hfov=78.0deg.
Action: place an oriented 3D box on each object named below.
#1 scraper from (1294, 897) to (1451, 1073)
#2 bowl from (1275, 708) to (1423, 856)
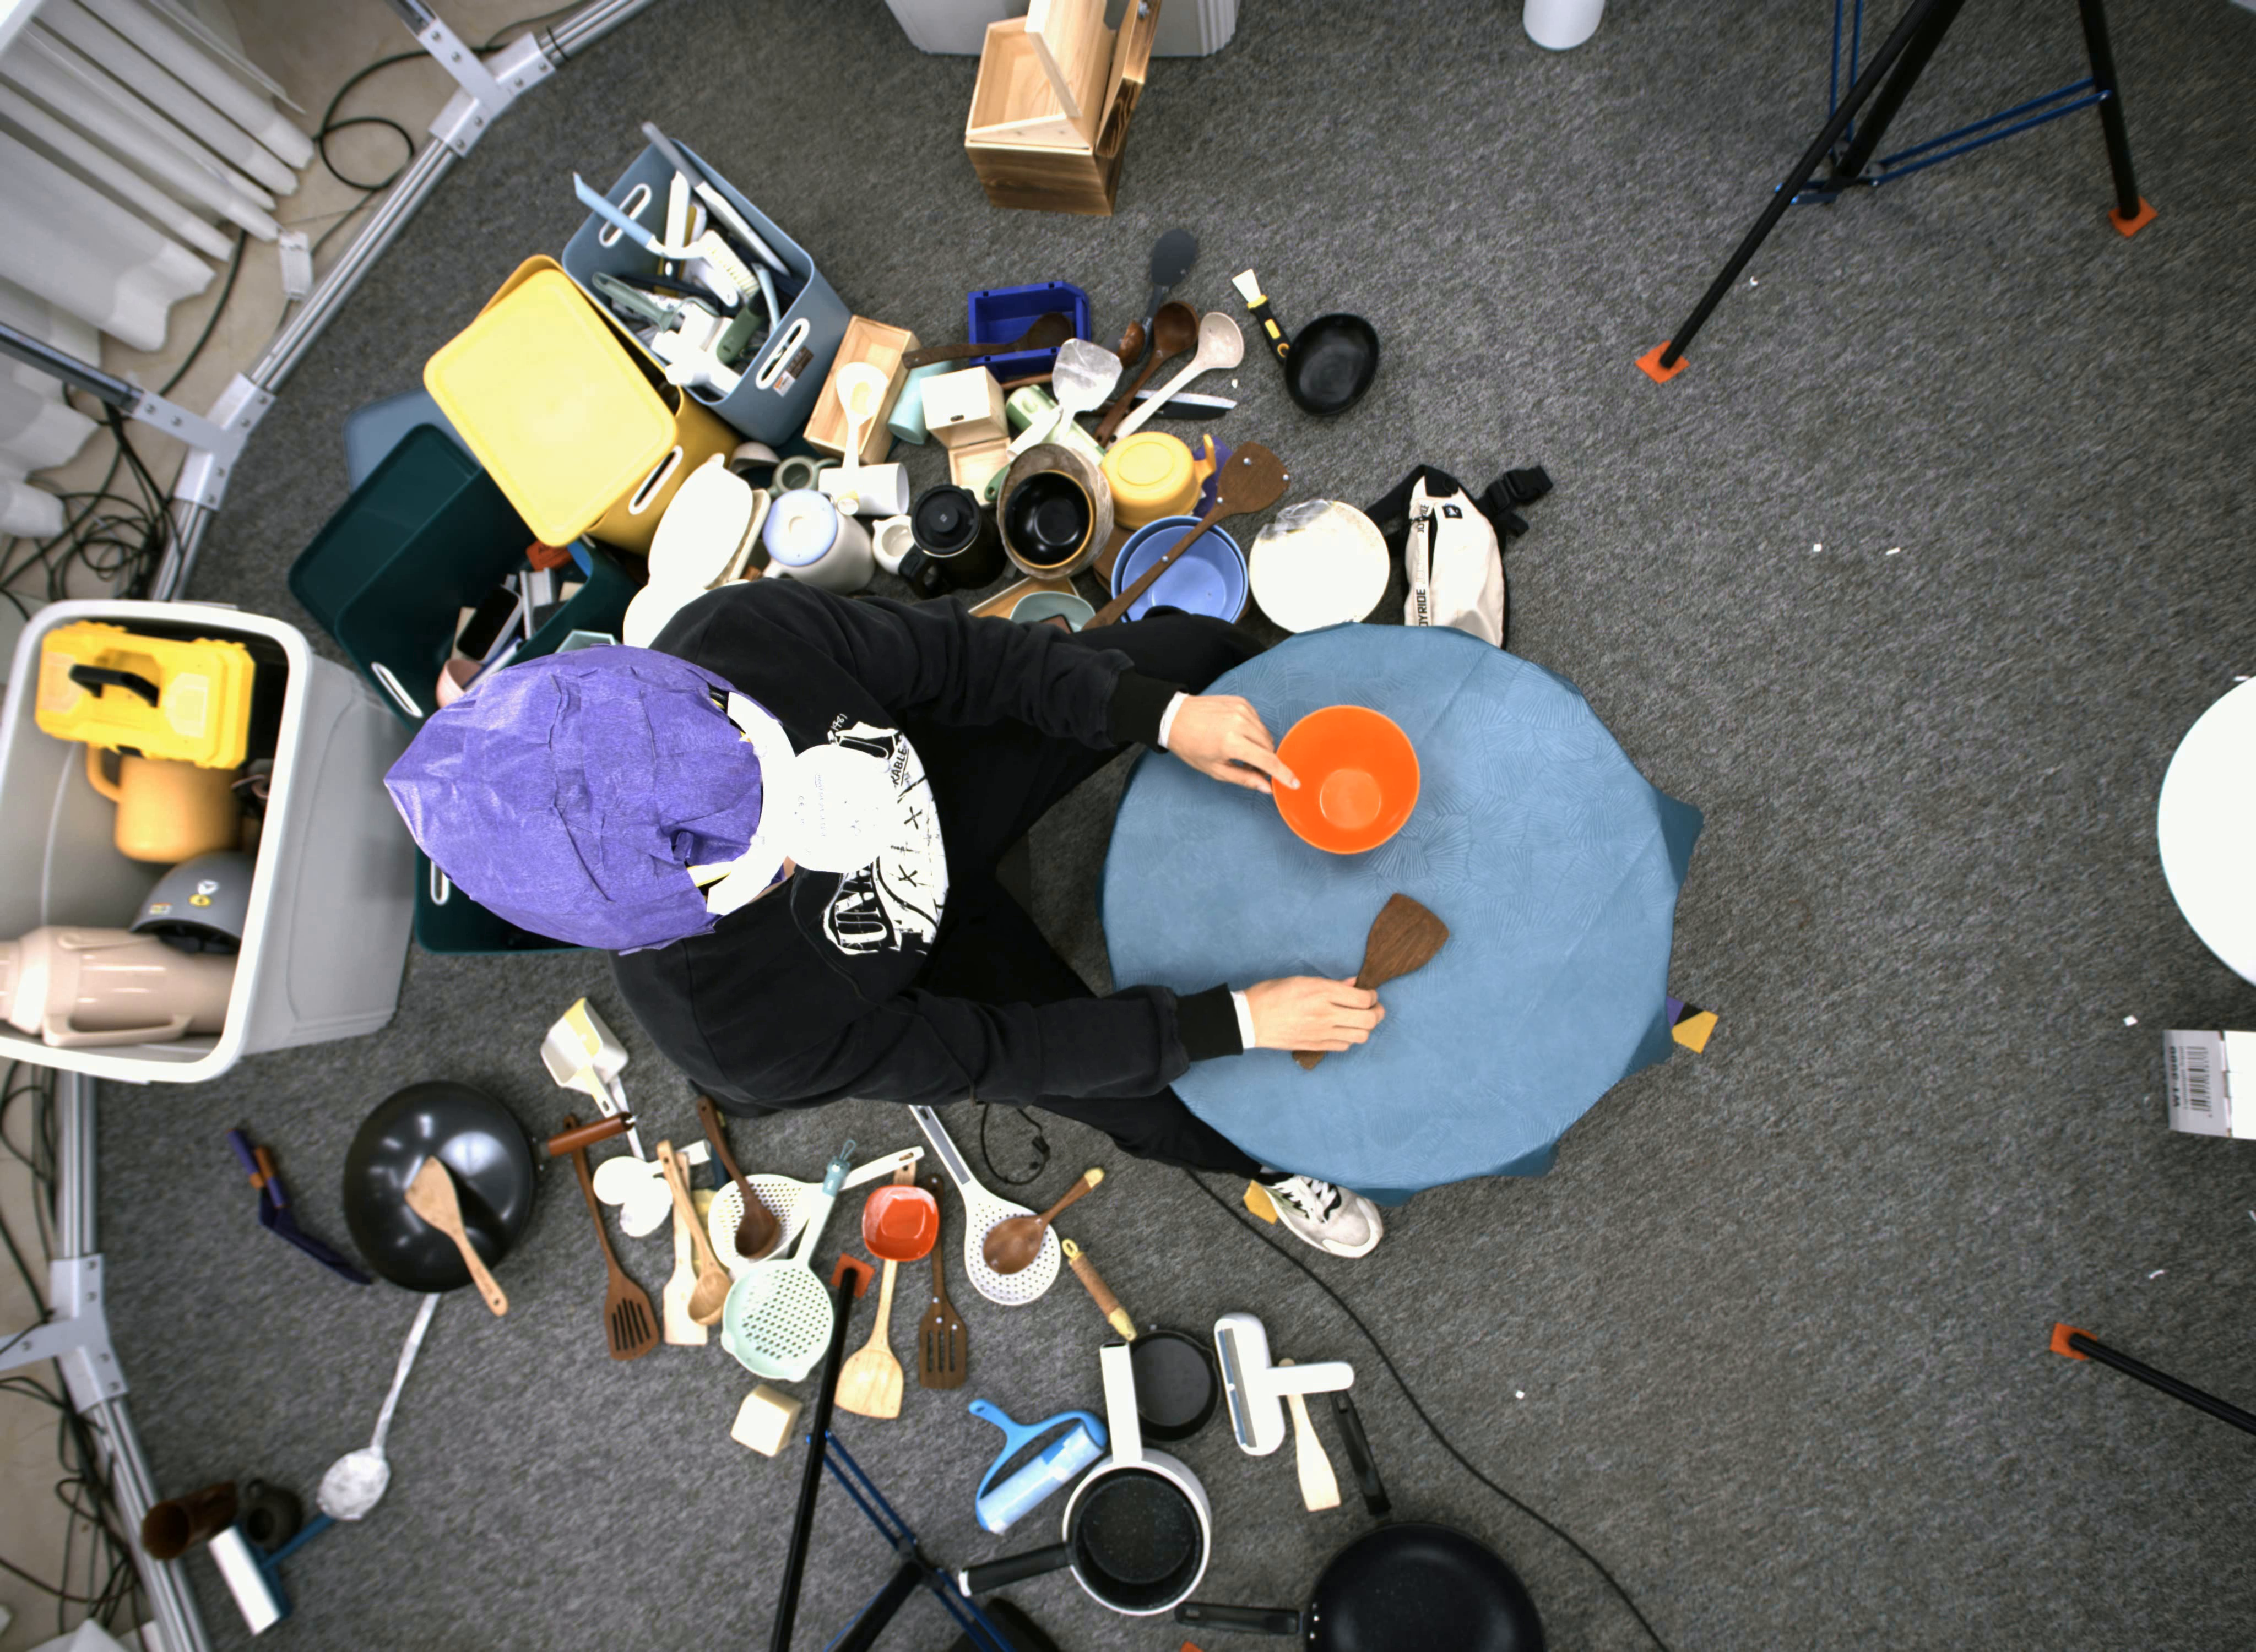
[{"bbox_3d":[0.248,0.171,1.451,0.075,0.011,0.211,40,92,20],"label":"scraper"},{"bbox_3d":[0.229,-0.041,1.429,0.148,0.105,0.147,-1,85,10],"label":"bowl"}]
